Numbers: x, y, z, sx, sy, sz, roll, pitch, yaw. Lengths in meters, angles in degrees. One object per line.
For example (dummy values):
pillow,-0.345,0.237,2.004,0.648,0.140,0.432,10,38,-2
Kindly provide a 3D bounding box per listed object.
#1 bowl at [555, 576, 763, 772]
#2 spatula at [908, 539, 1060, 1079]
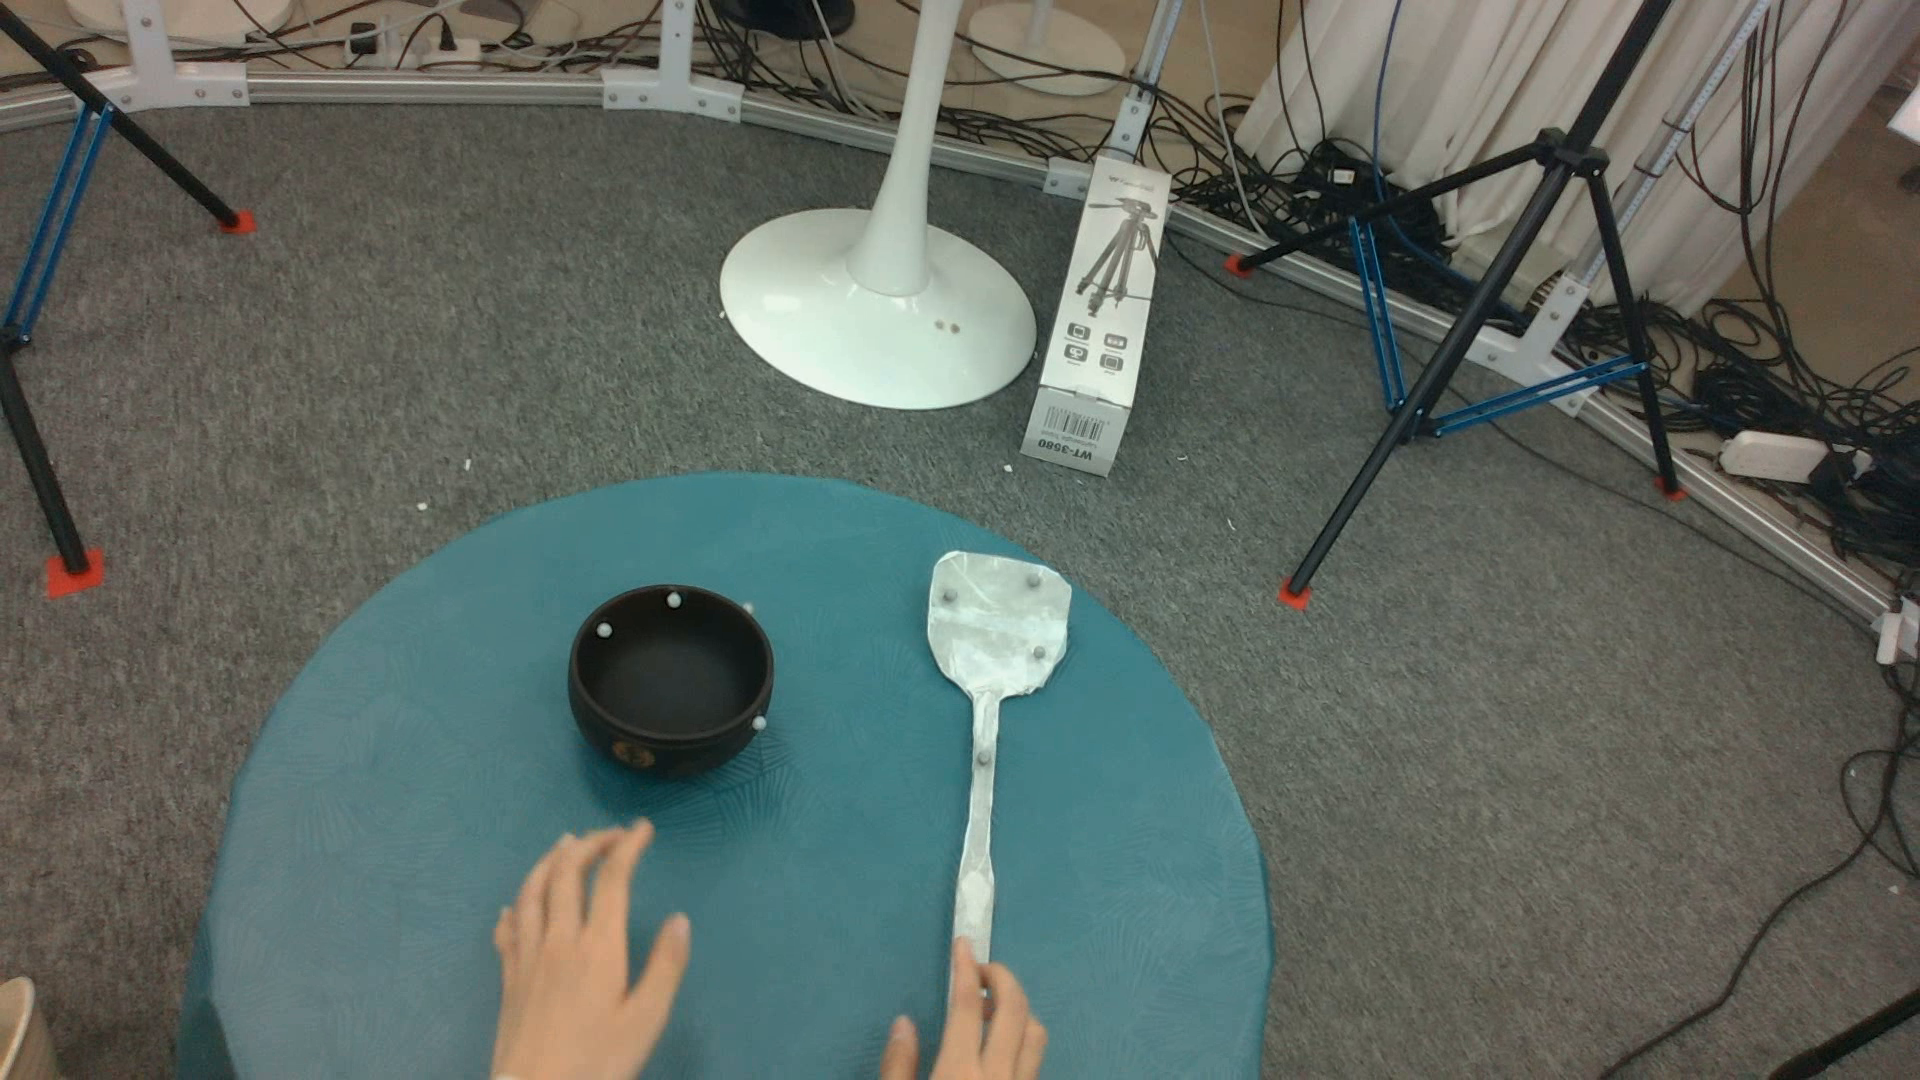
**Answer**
bowl,-0.177,0.086,0.811,0.118,0.069,0.118,8,46,-8
spatula,0.004,0.145,0.836,0.099,0.044,0.366,14,44,-7
